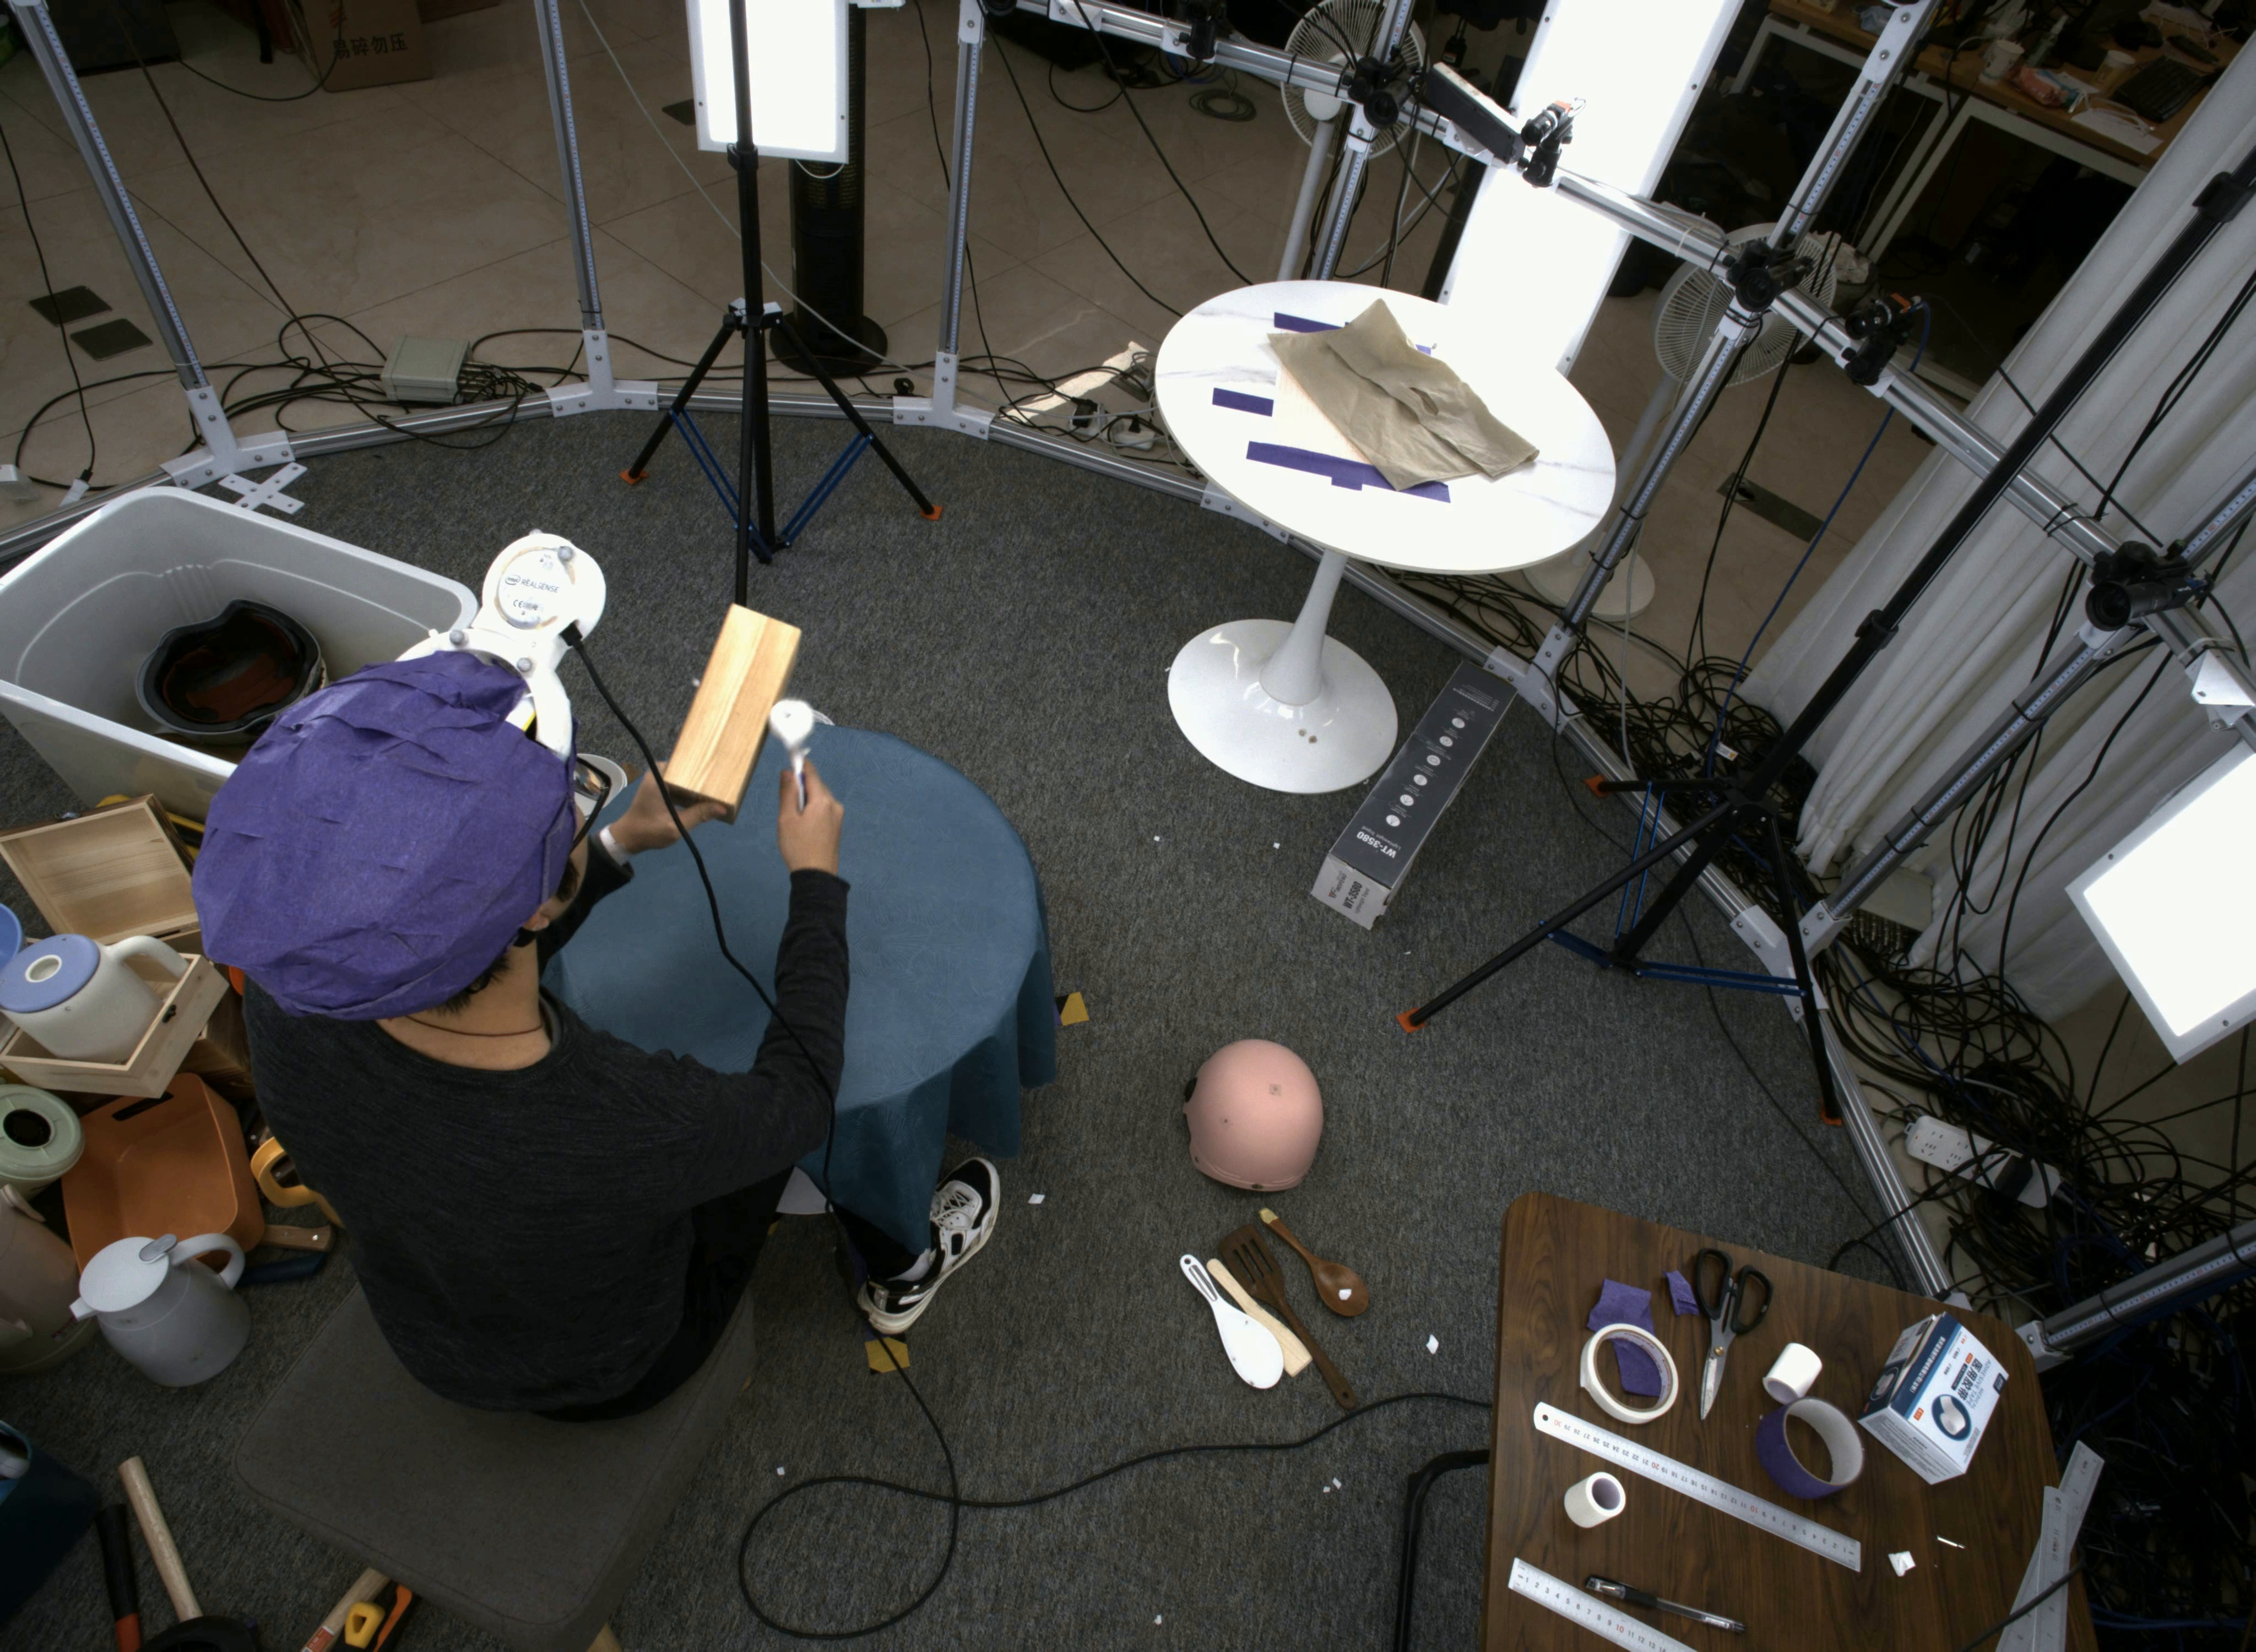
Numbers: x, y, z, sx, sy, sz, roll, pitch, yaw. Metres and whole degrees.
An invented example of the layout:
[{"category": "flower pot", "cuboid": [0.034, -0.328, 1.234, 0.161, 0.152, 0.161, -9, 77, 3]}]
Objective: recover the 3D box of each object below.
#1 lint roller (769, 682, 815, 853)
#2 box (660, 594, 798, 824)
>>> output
[{"category": "lint roller", "cuboid": [-0.354, -0.065, 1.427, 0.050, 0.131, 0.183, -15, 94, -13]}, {"category": "box", "cuboid": [-0.433, -0.125, 1.403, 0.081, 0.107, 0.211, 19, 74, -13]}]
